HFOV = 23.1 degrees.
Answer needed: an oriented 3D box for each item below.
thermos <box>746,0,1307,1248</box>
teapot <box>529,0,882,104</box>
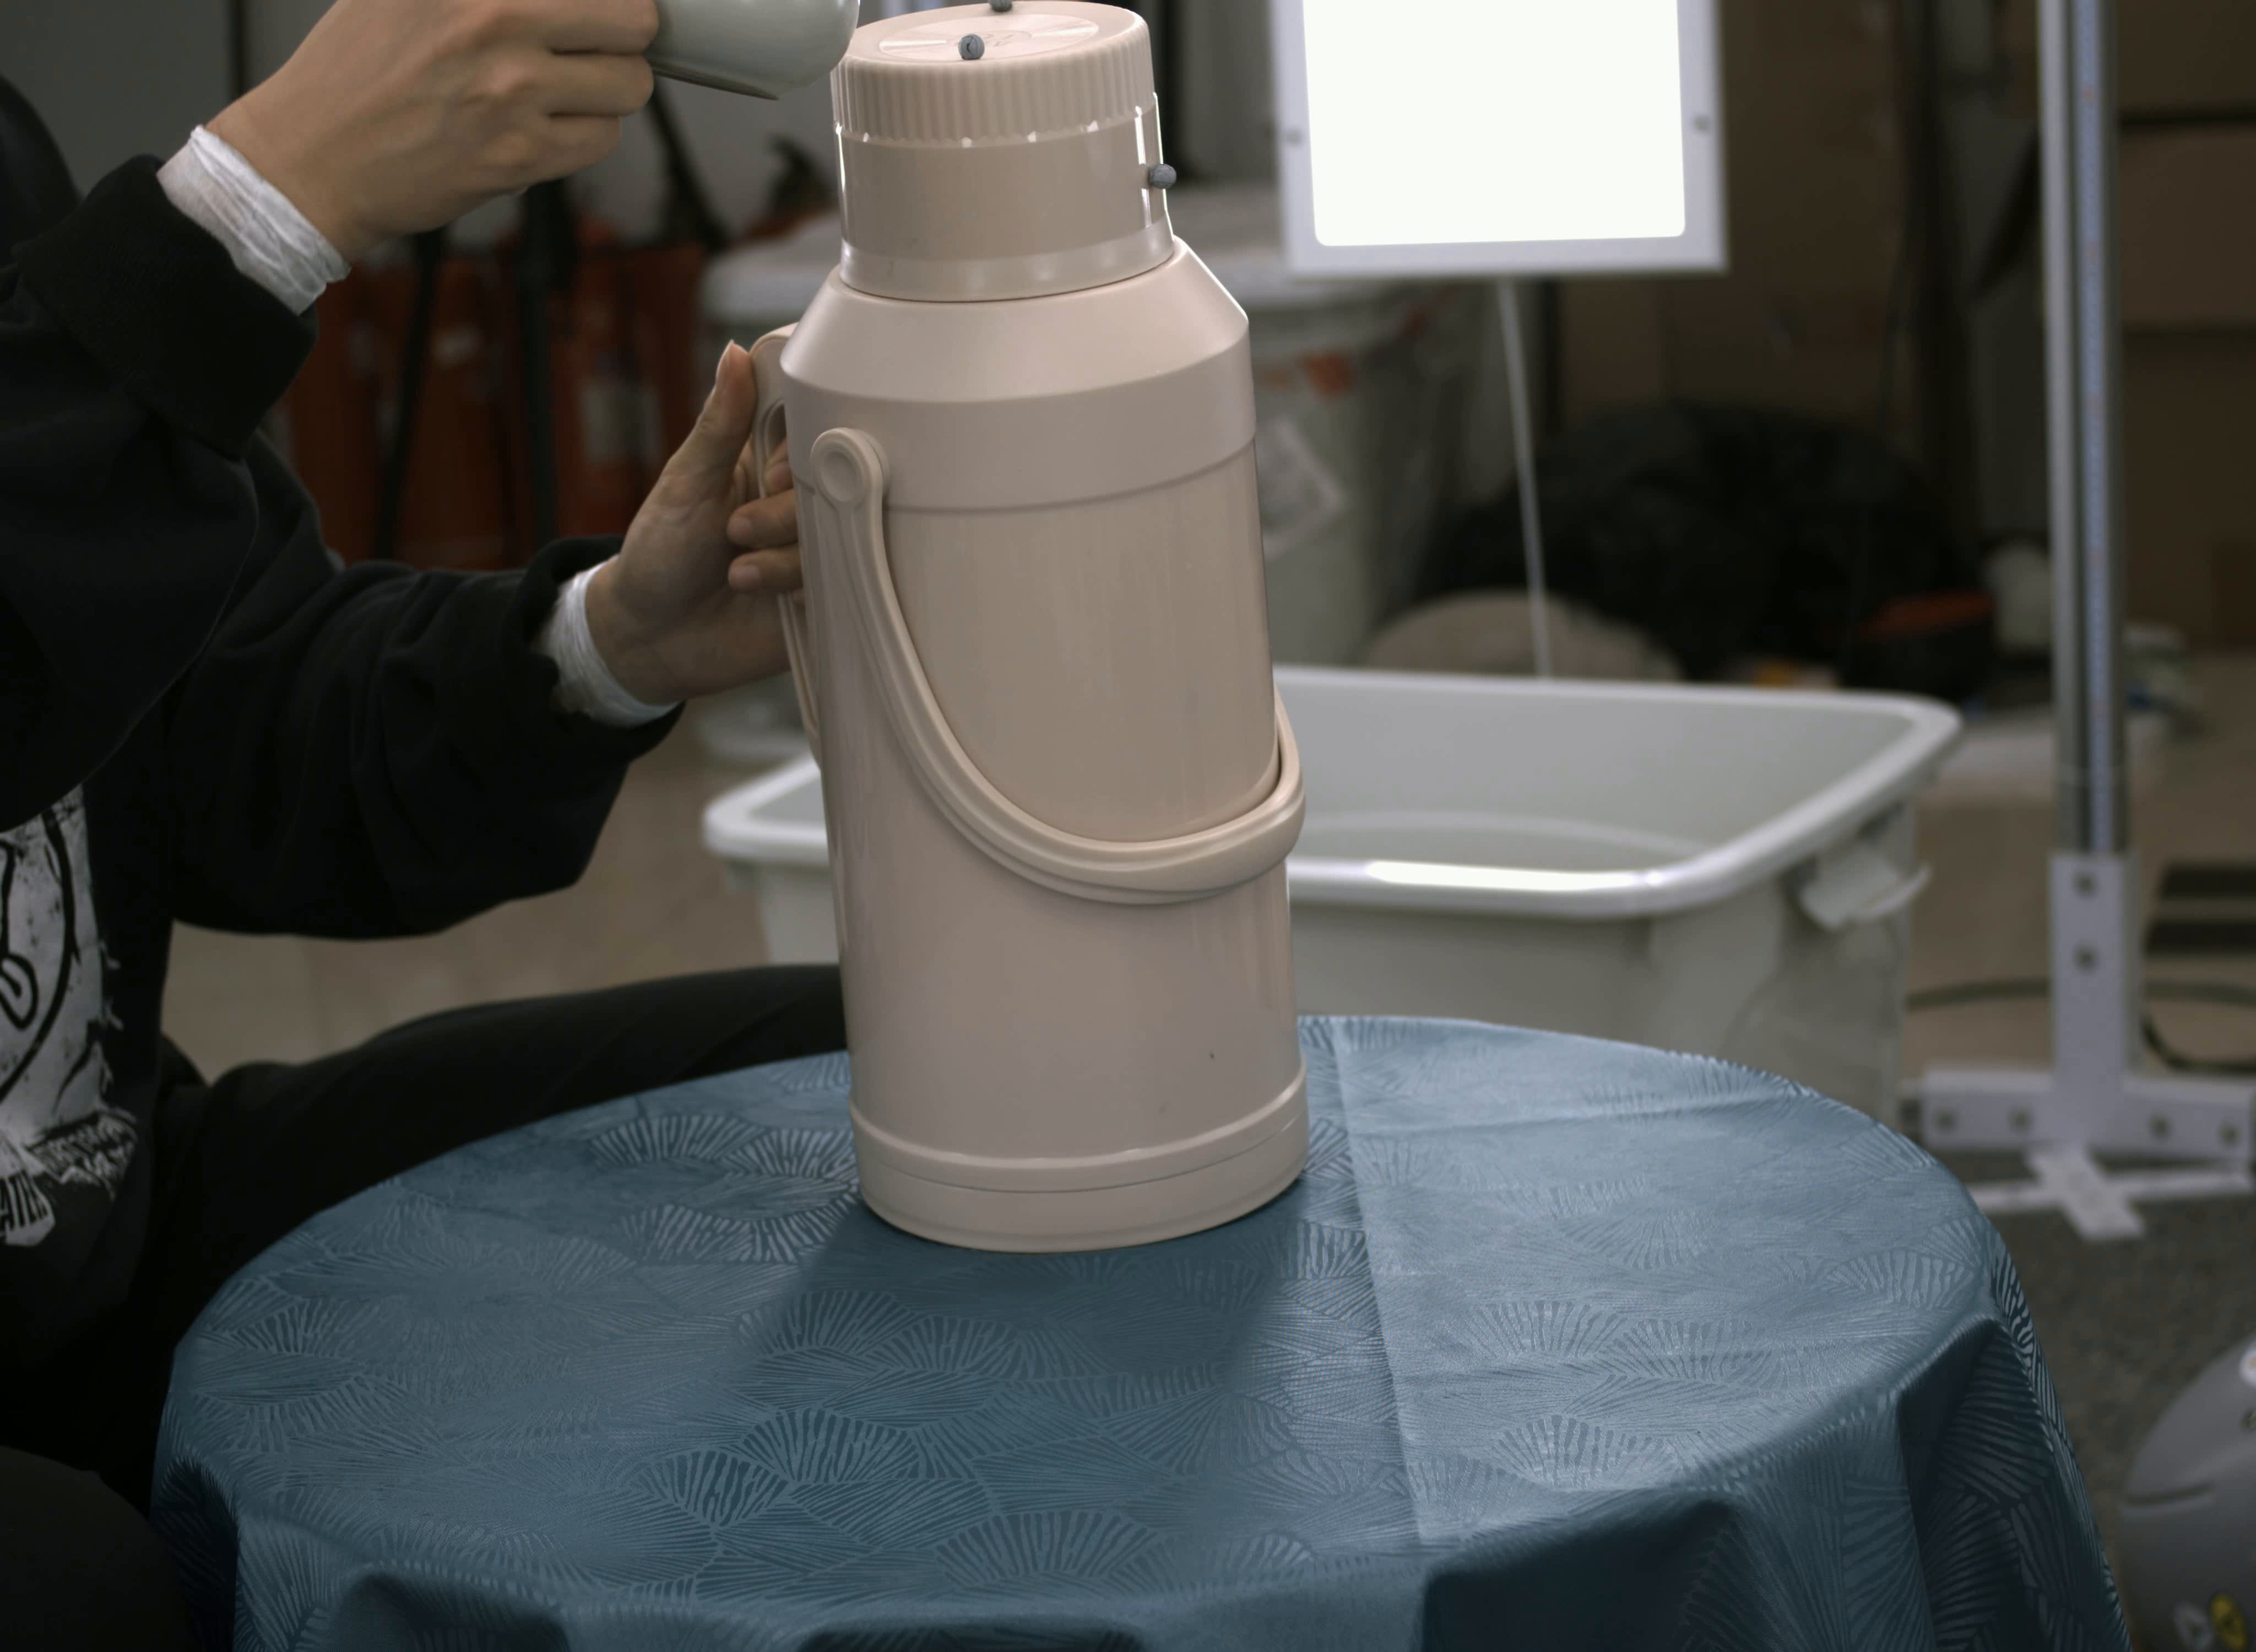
[{"bbox_3d":[-0.041,-0.073,1.863,0.211,0.408,0.171,12,27,40],"label":"thermos"},{"bbox_3d":[-0.128,-0.256,1.700,0.125,0.060,0.094,-16,8,-33],"label":"teapot"}]
